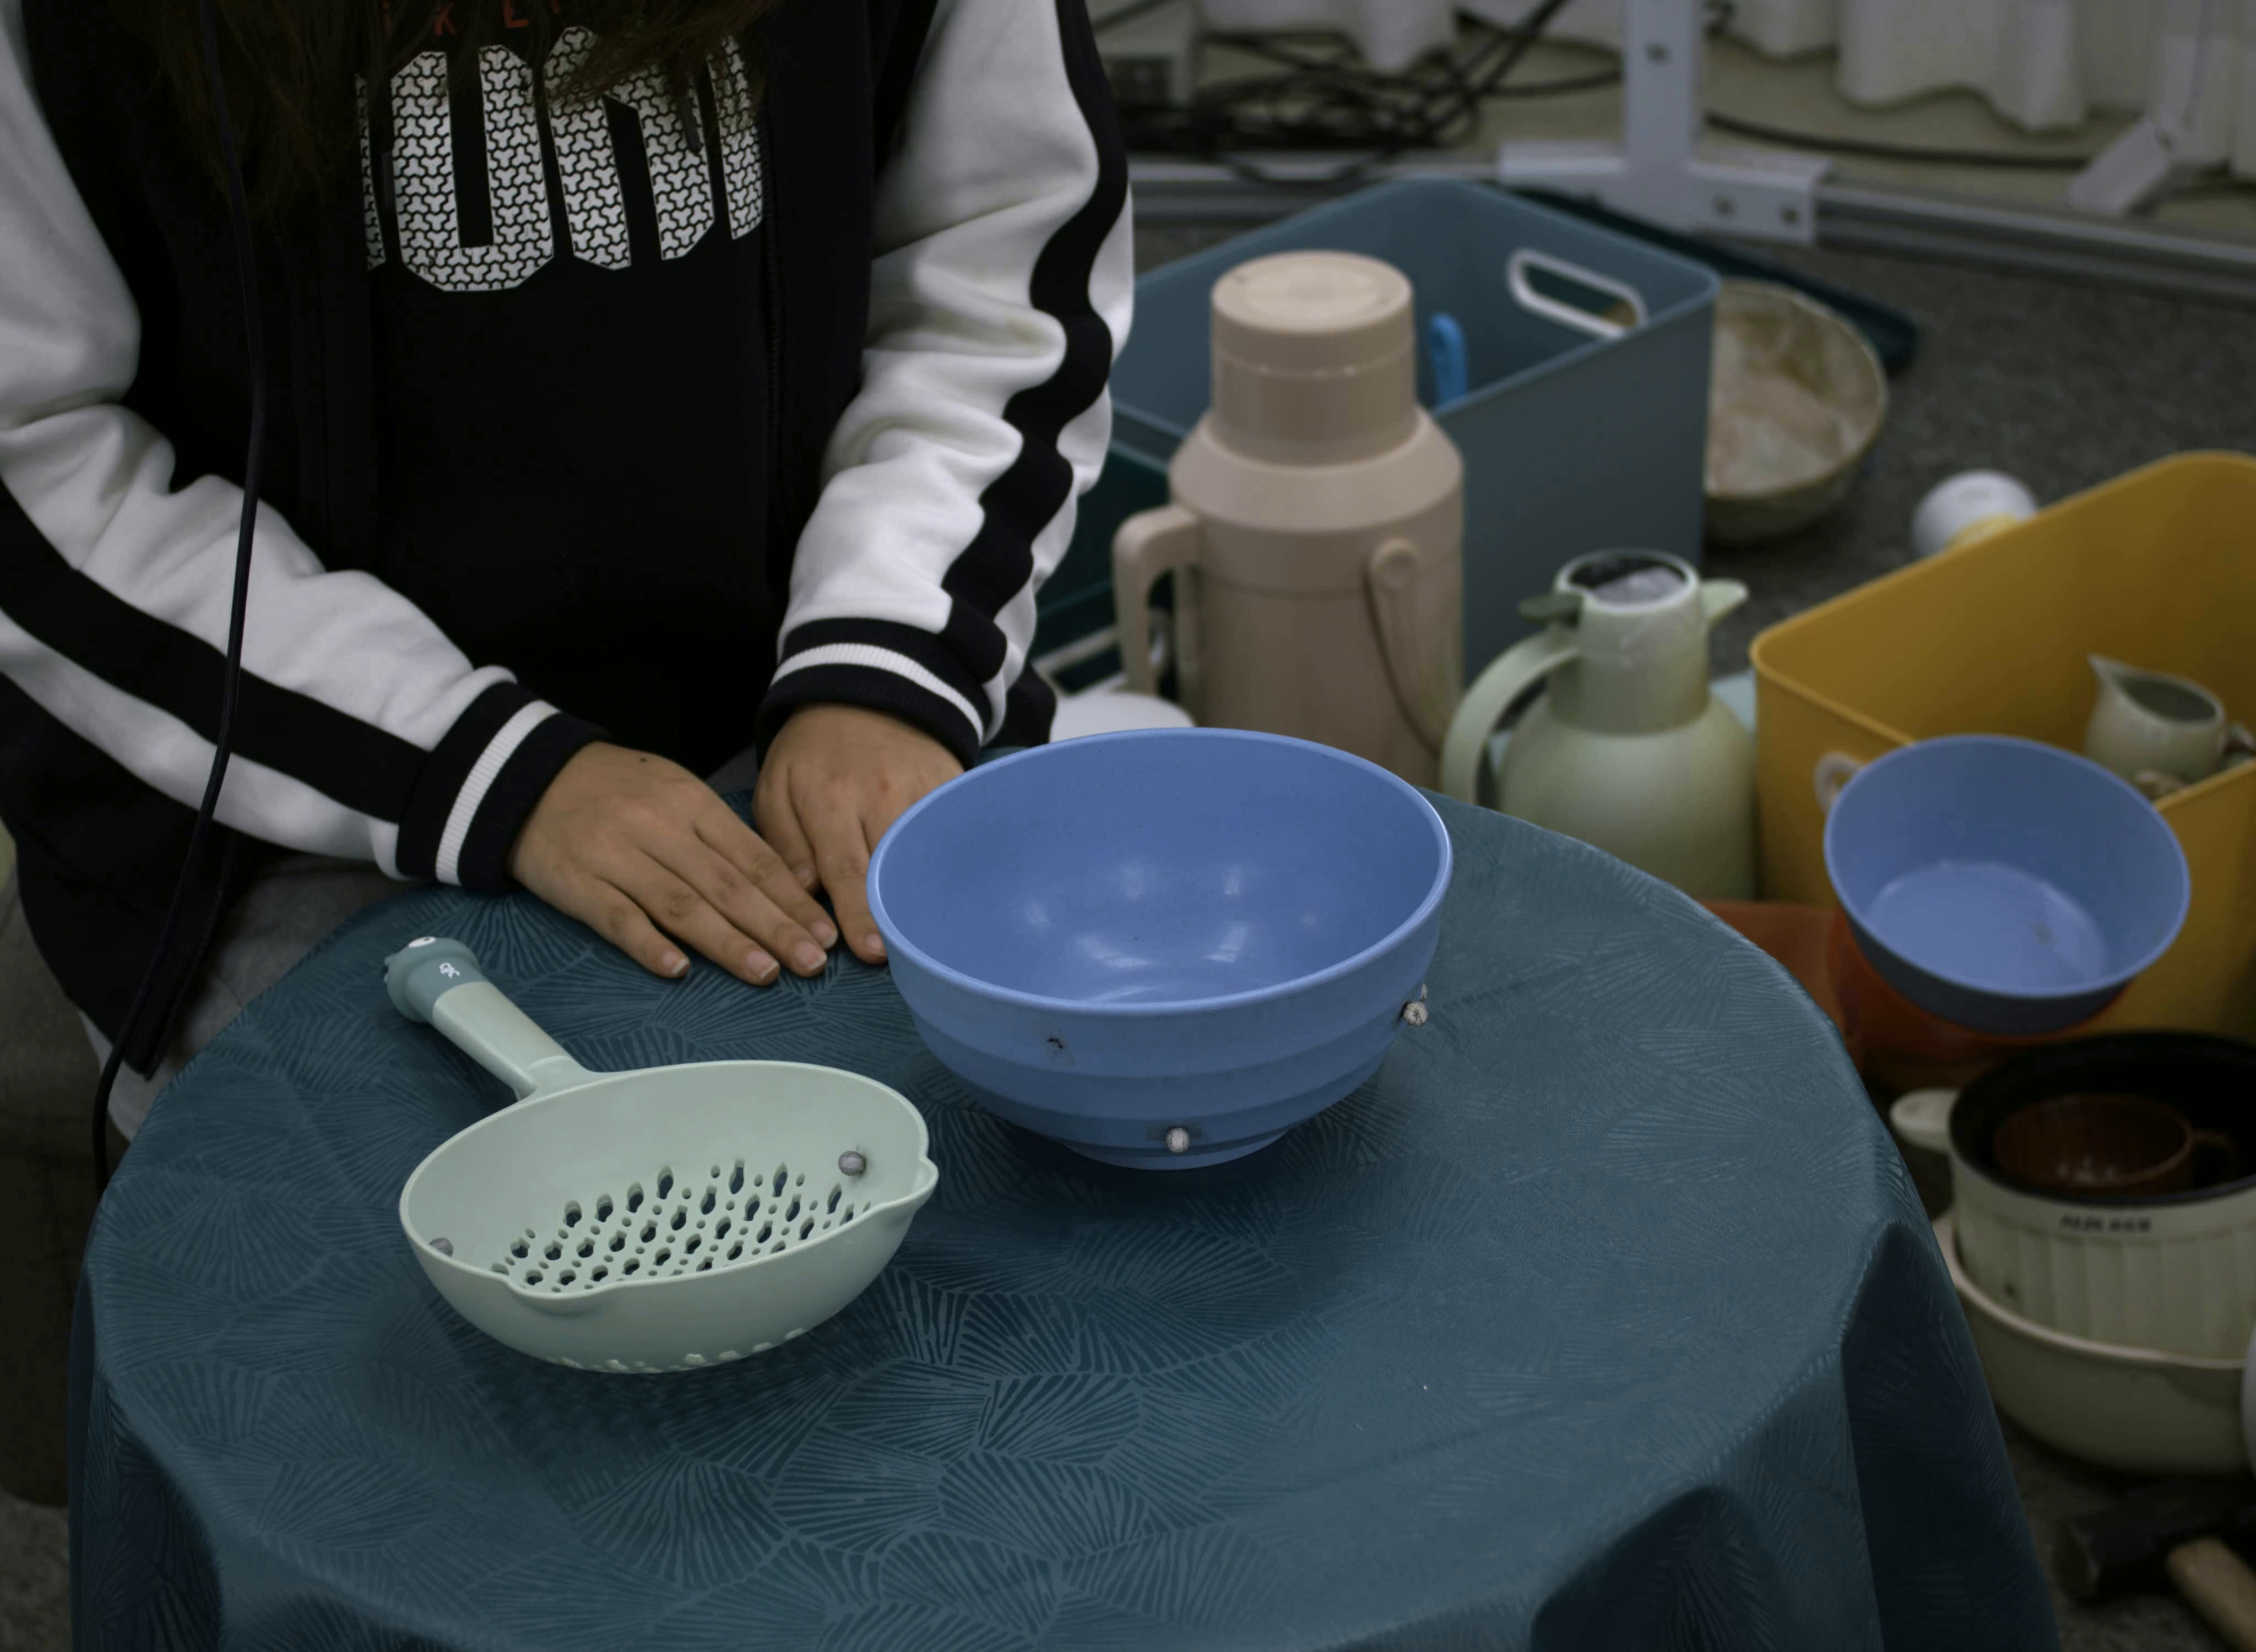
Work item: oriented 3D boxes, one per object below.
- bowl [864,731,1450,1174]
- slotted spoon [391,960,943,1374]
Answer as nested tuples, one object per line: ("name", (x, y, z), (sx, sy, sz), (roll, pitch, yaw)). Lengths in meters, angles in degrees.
("bowl", (0.012, 0.053, 1.891), (0.195, 0.094, 0.199), (-3, 27, 2))
("slotted spoon", (-0.185, 0.097, 1.867), (0.170, 0.074, 0.361), (-13, 27, -22))
